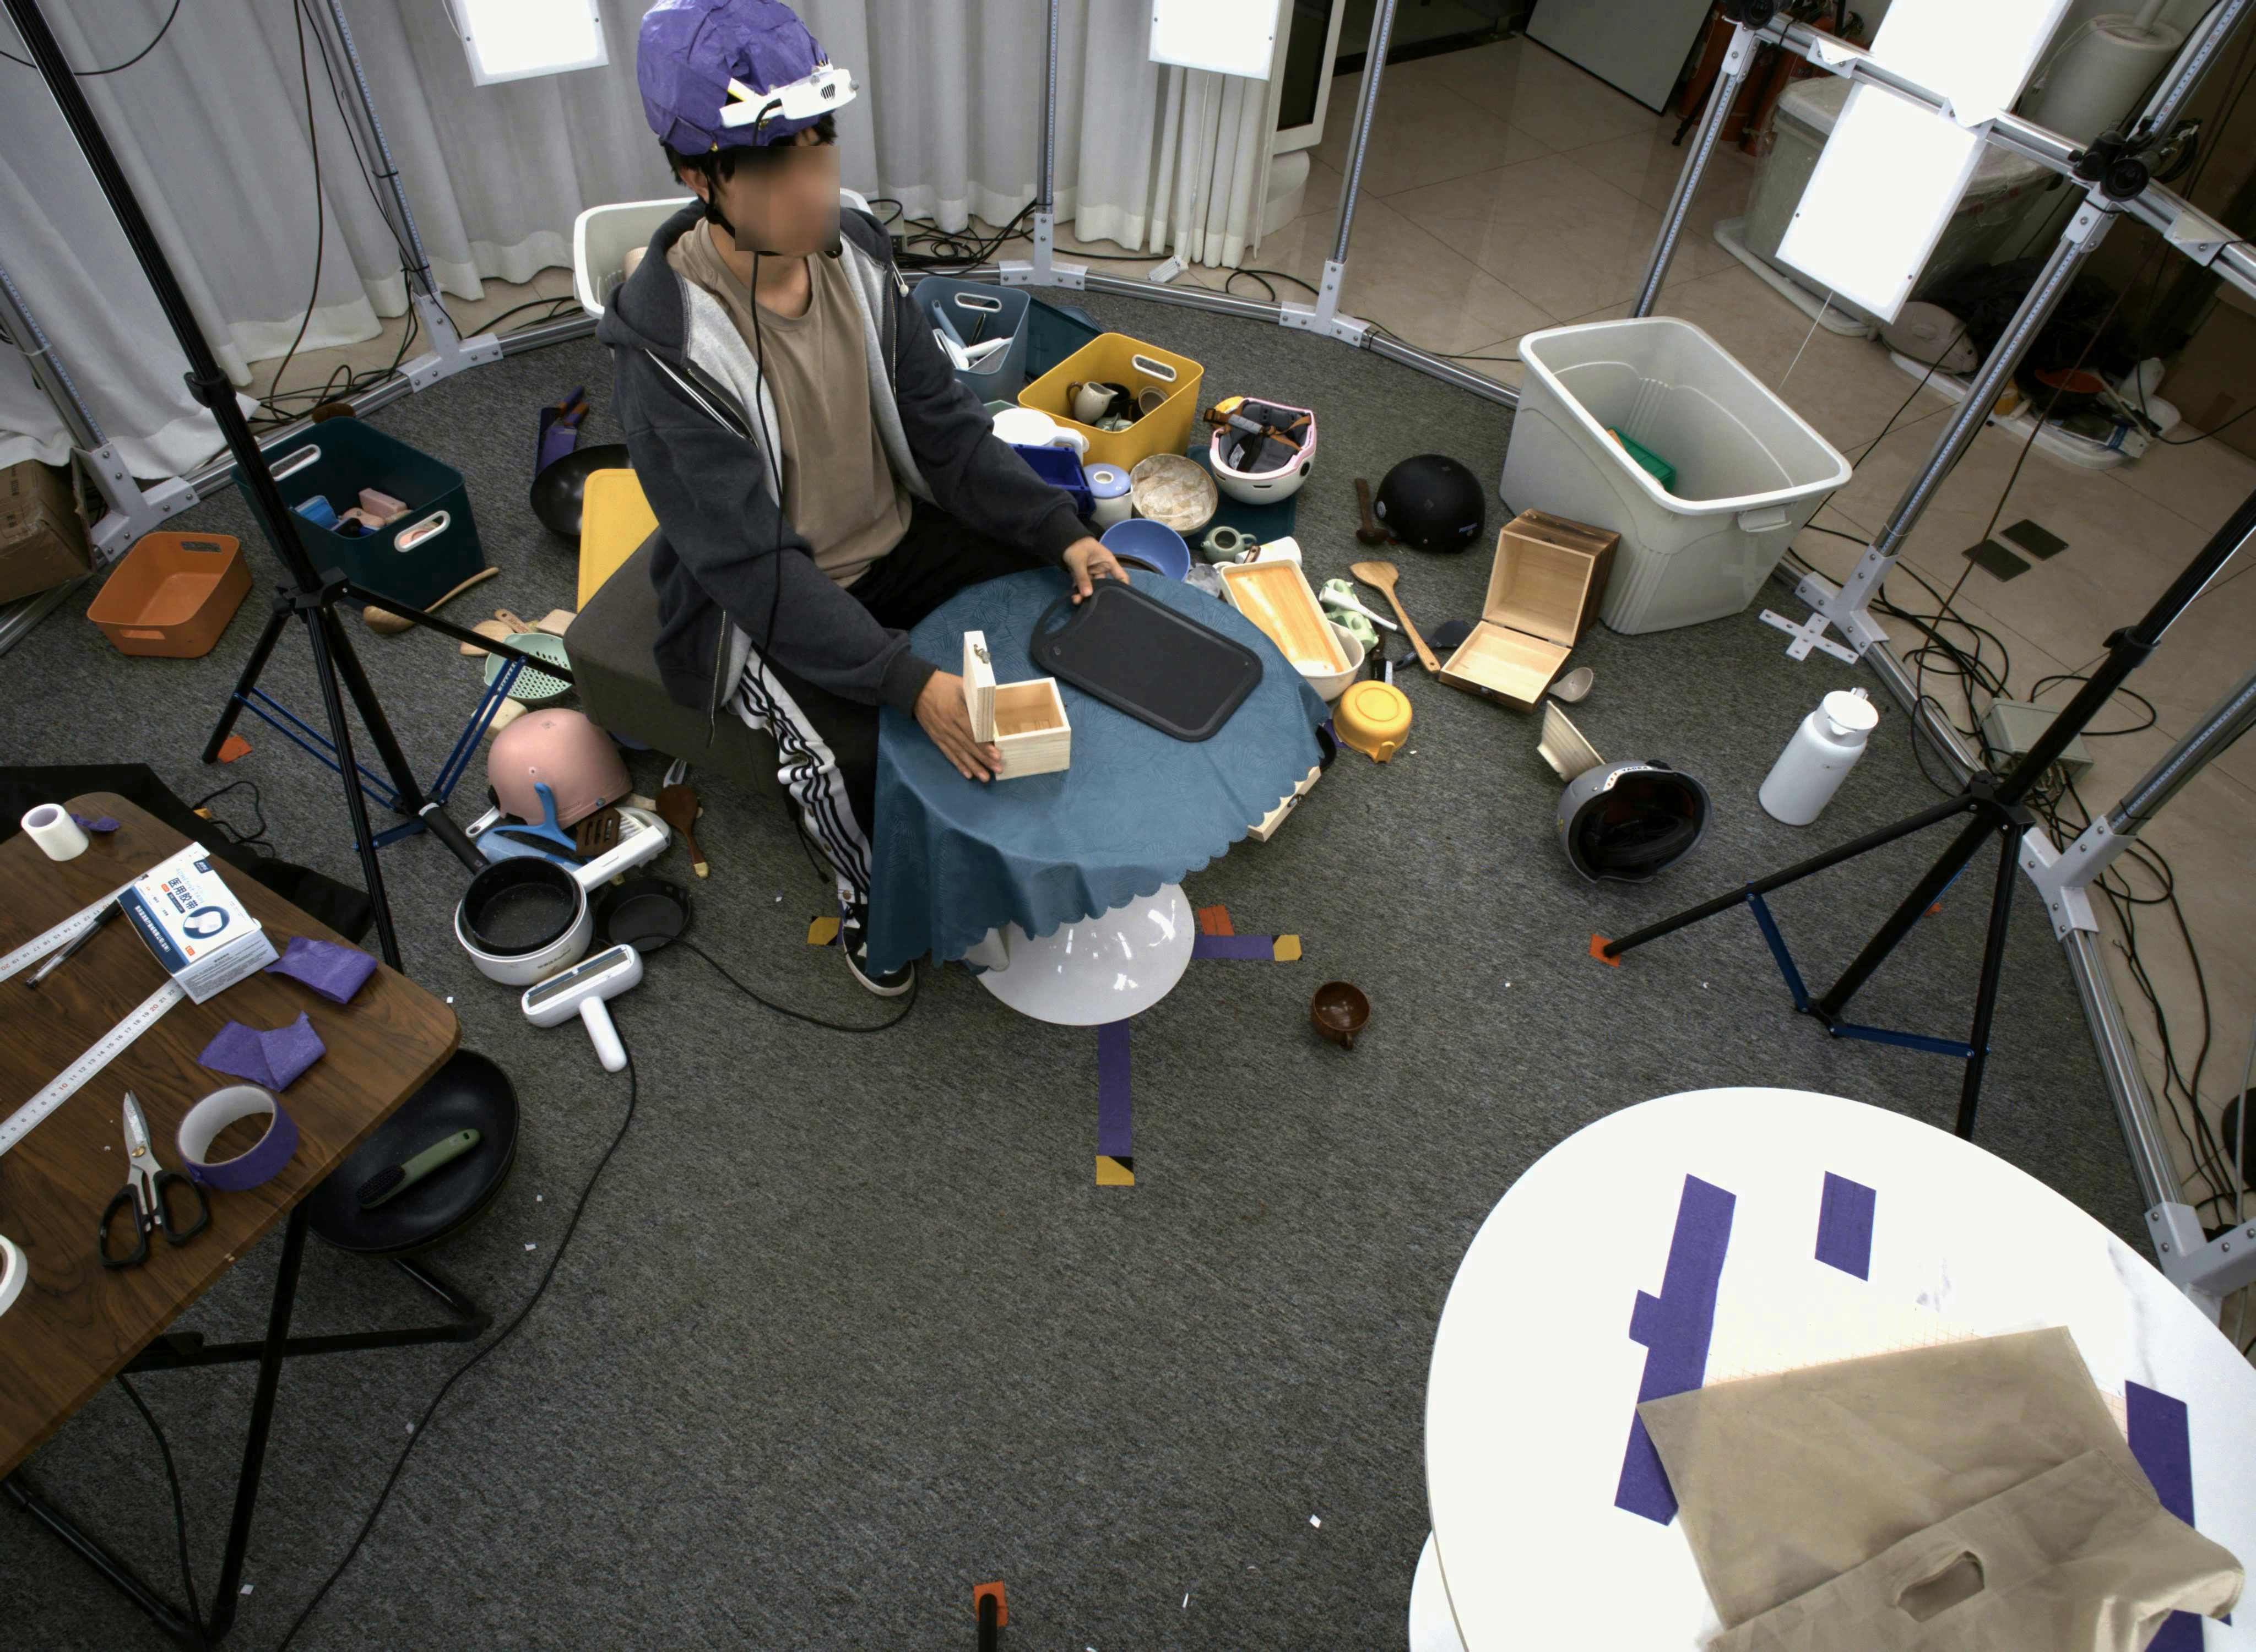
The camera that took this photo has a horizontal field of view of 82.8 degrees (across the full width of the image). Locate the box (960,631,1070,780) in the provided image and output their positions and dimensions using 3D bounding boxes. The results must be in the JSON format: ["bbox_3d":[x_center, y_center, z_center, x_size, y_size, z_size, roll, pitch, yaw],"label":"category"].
[{"bbox_3d":[-0.145,-0.163,1.679,0.134,0.180,0.105,-10,51,-11],"label":"box"}]

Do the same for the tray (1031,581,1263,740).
[{"bbox_3d":[0.021,-0.249,1.866,0.328,0.009,0.214,30,56,17],"label":"tray"}]
